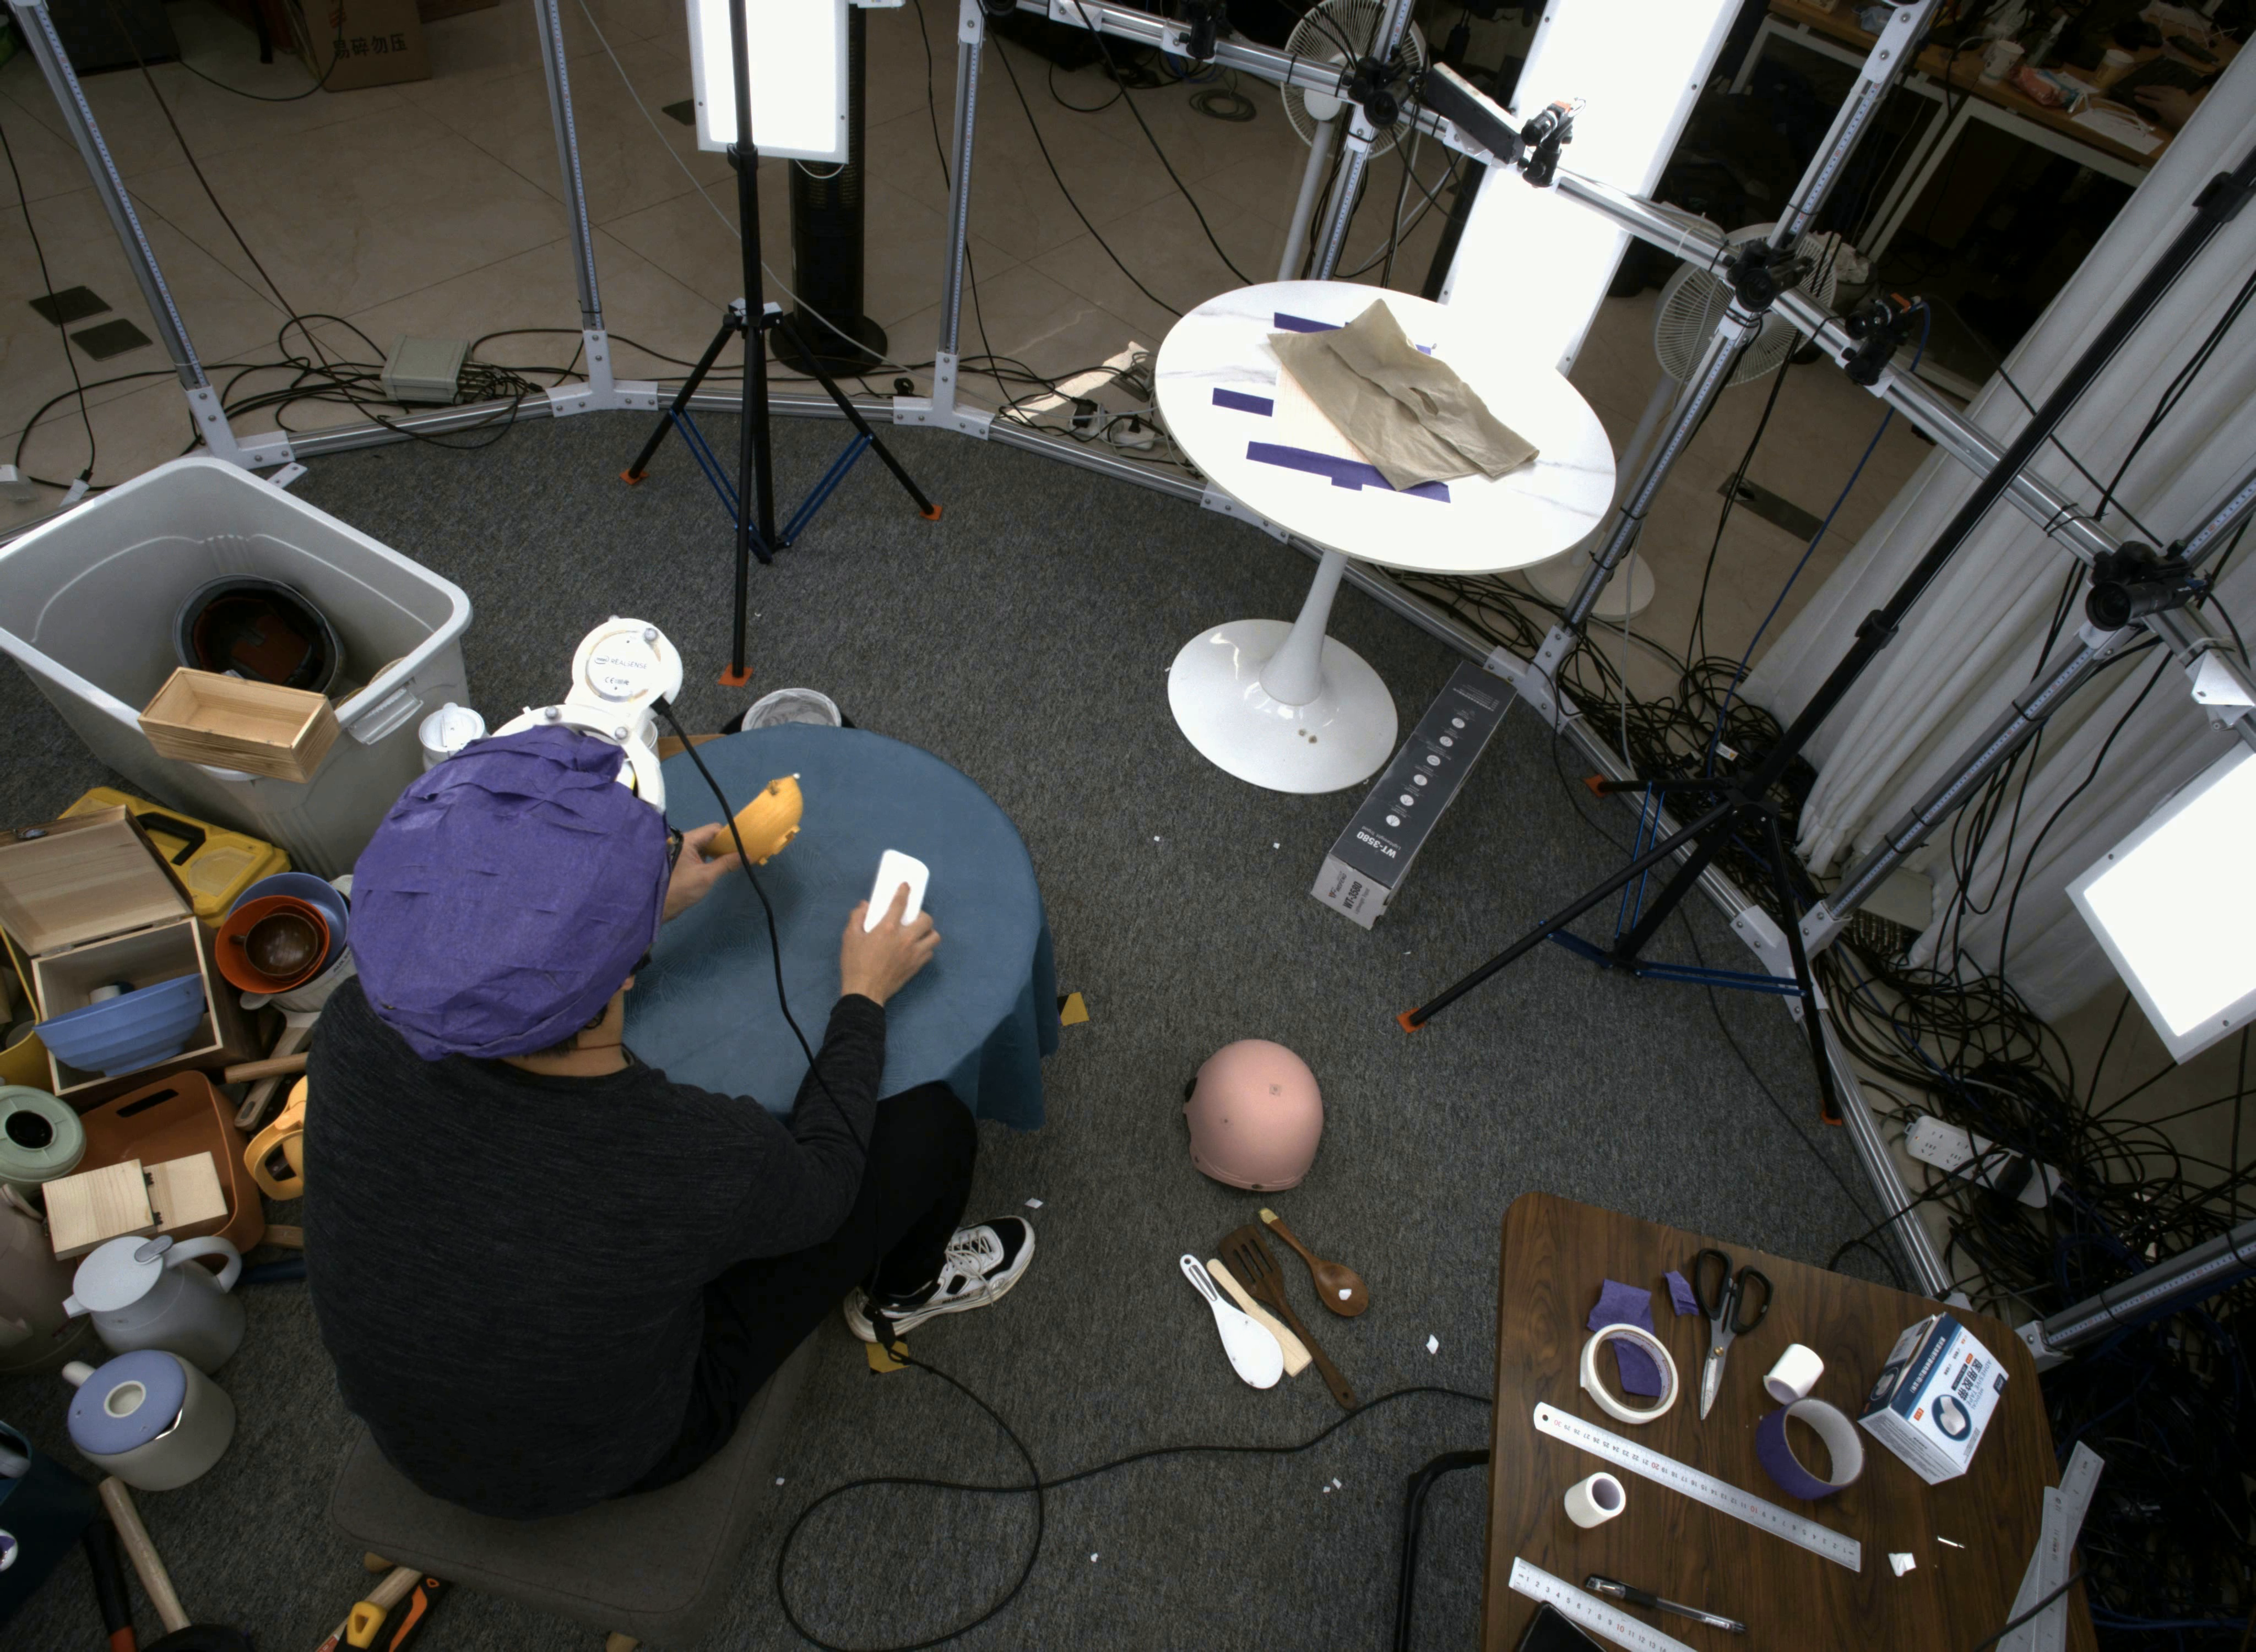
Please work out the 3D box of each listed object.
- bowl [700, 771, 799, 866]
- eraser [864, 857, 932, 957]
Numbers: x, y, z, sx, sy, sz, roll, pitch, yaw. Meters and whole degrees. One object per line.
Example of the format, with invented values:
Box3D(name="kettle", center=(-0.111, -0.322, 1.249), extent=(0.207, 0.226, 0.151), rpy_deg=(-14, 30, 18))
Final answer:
Box3D(name="bowl", center=(-0.451, 0.002, 1.589), extent=(0.061, 0.143, 0.145), rpy_deg=(47, 52, -8))
Box3D(name="eraser", center=(-0.288, 0.097, 1.626), extent=(0.064, 0.034, 0.129), rpy_deg=(24, 49, -17))
